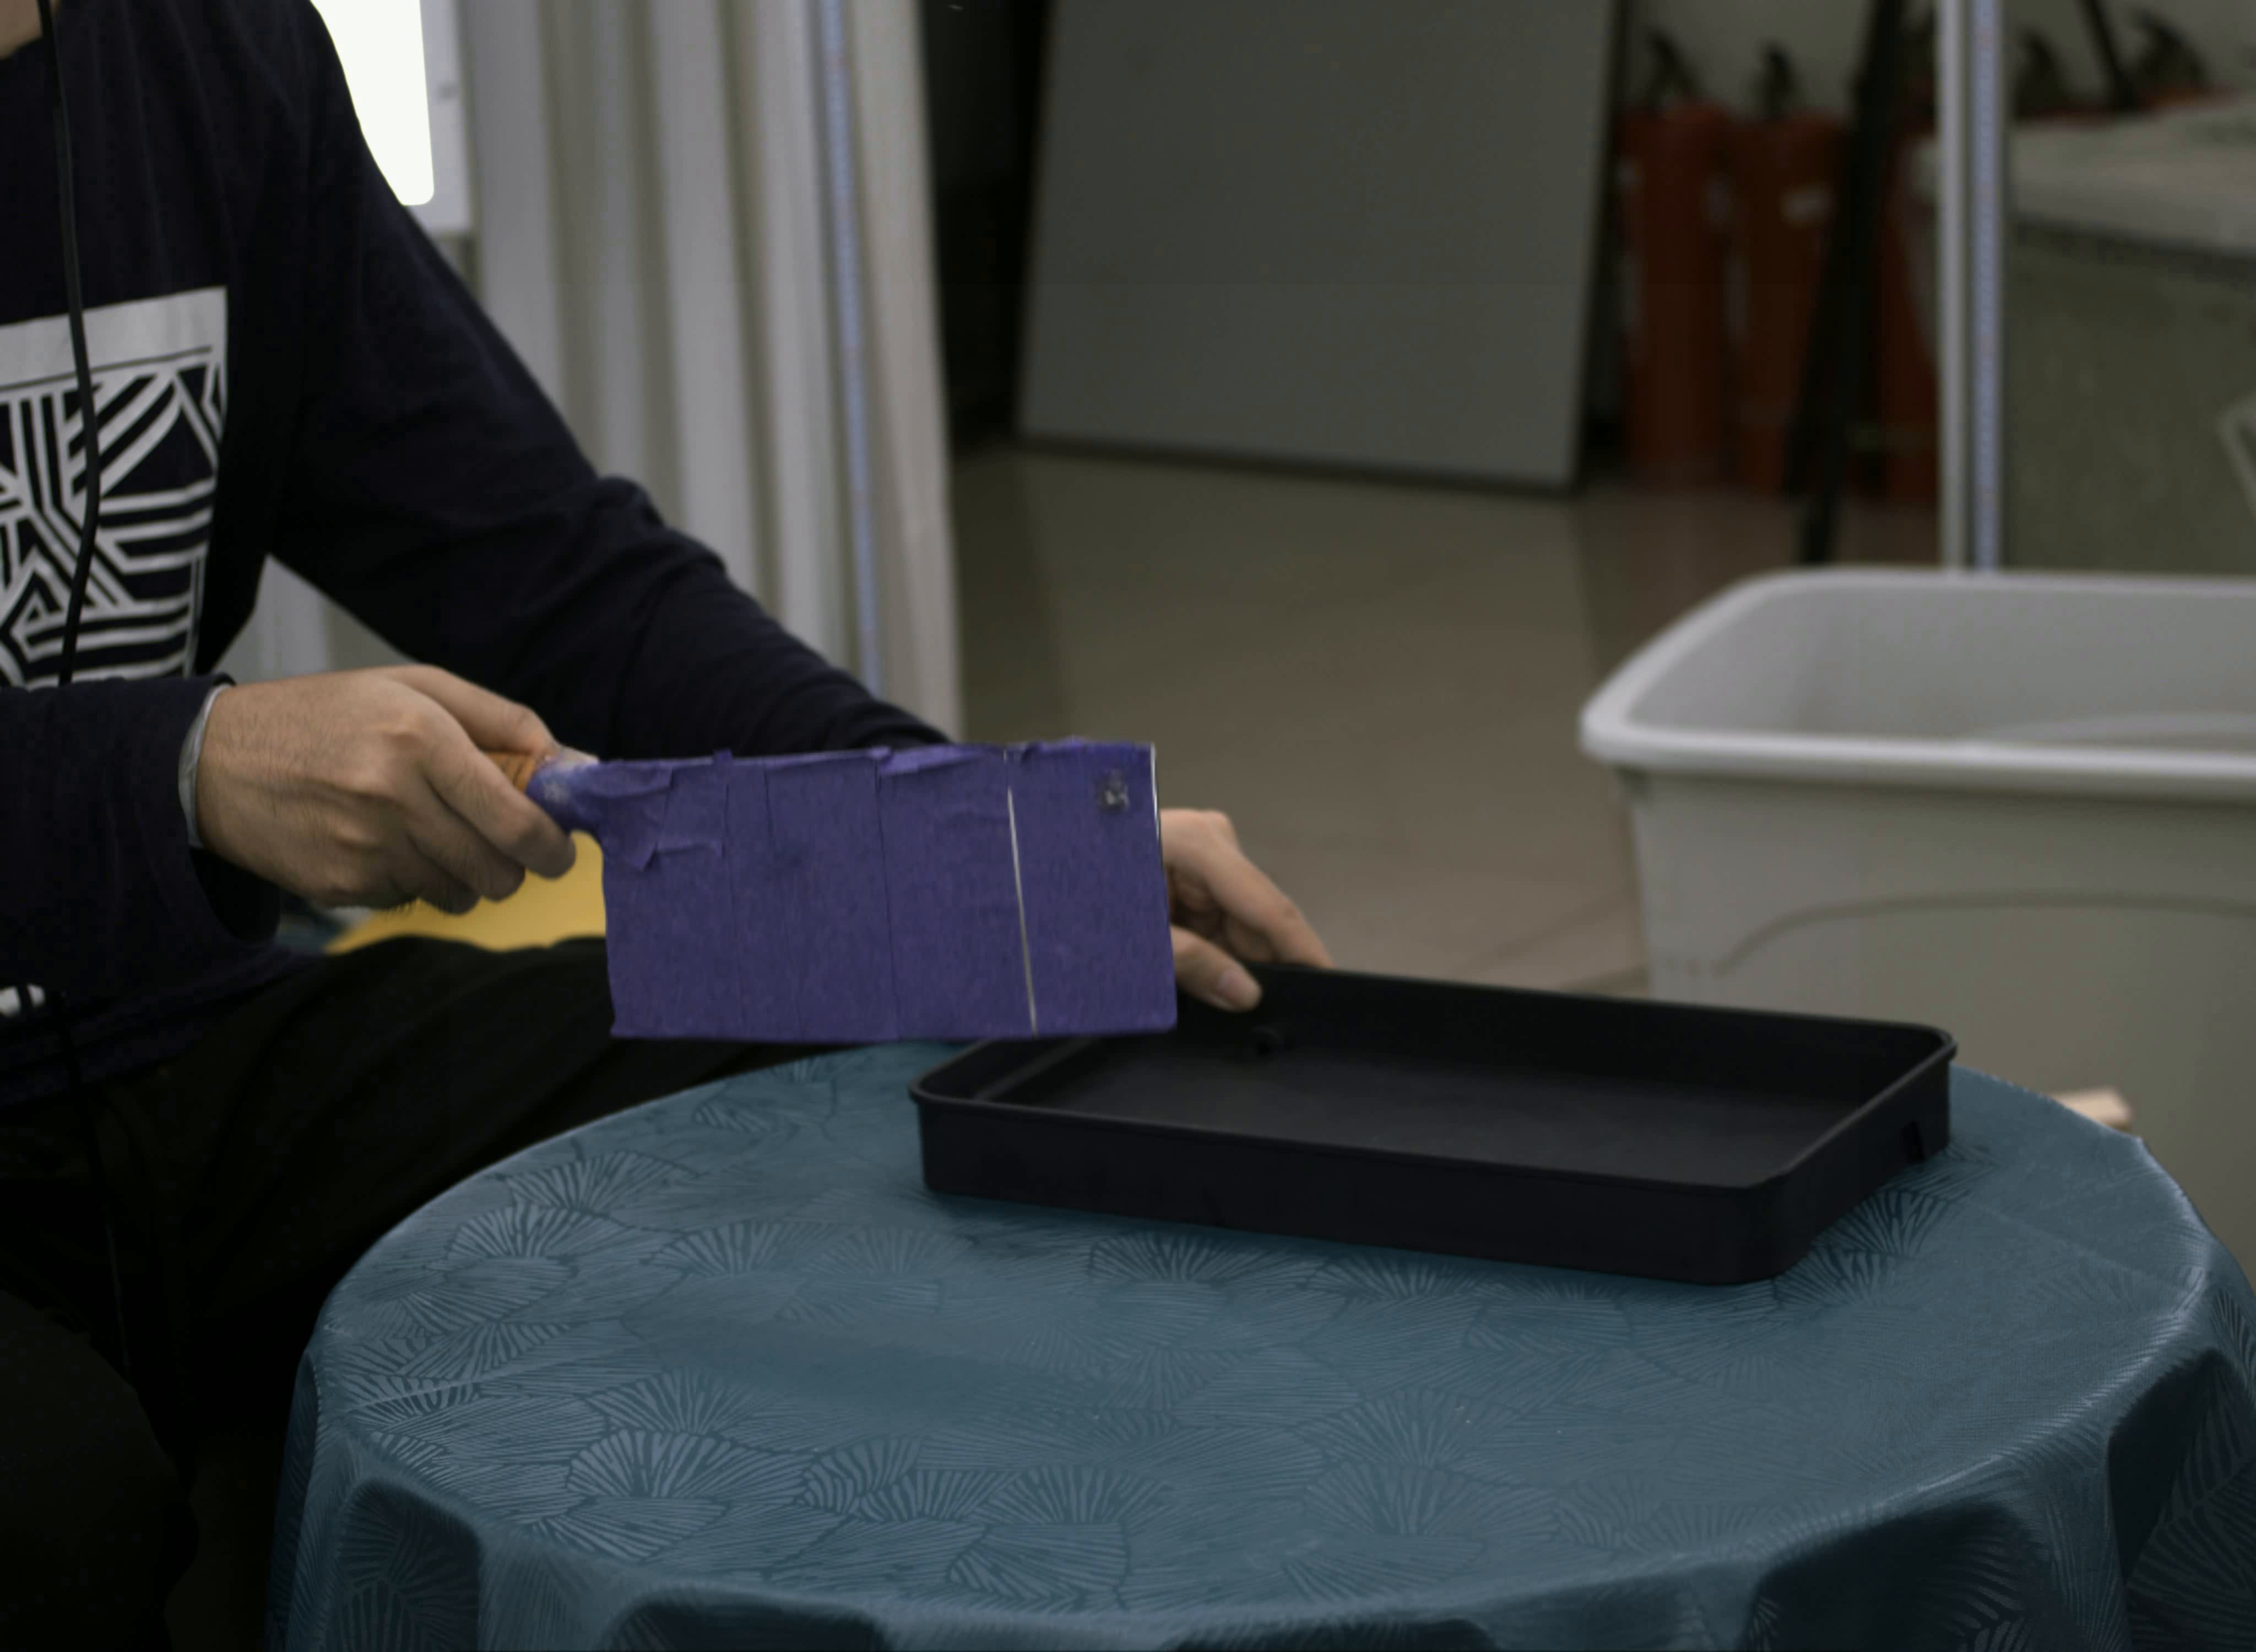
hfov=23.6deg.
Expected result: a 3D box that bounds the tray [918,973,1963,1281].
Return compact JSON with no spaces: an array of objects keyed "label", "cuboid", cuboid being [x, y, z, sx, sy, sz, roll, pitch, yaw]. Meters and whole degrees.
[{"label":"tray","cuboid":[0.104,0.096,1.779,0.319,0.037,0.181,2,15,30]}]

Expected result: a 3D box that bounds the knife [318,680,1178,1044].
[{"label":"knife","cuboid":[-0.124,0.018,1.698,0.317,0.105,0.031,-4,1,33]}]
